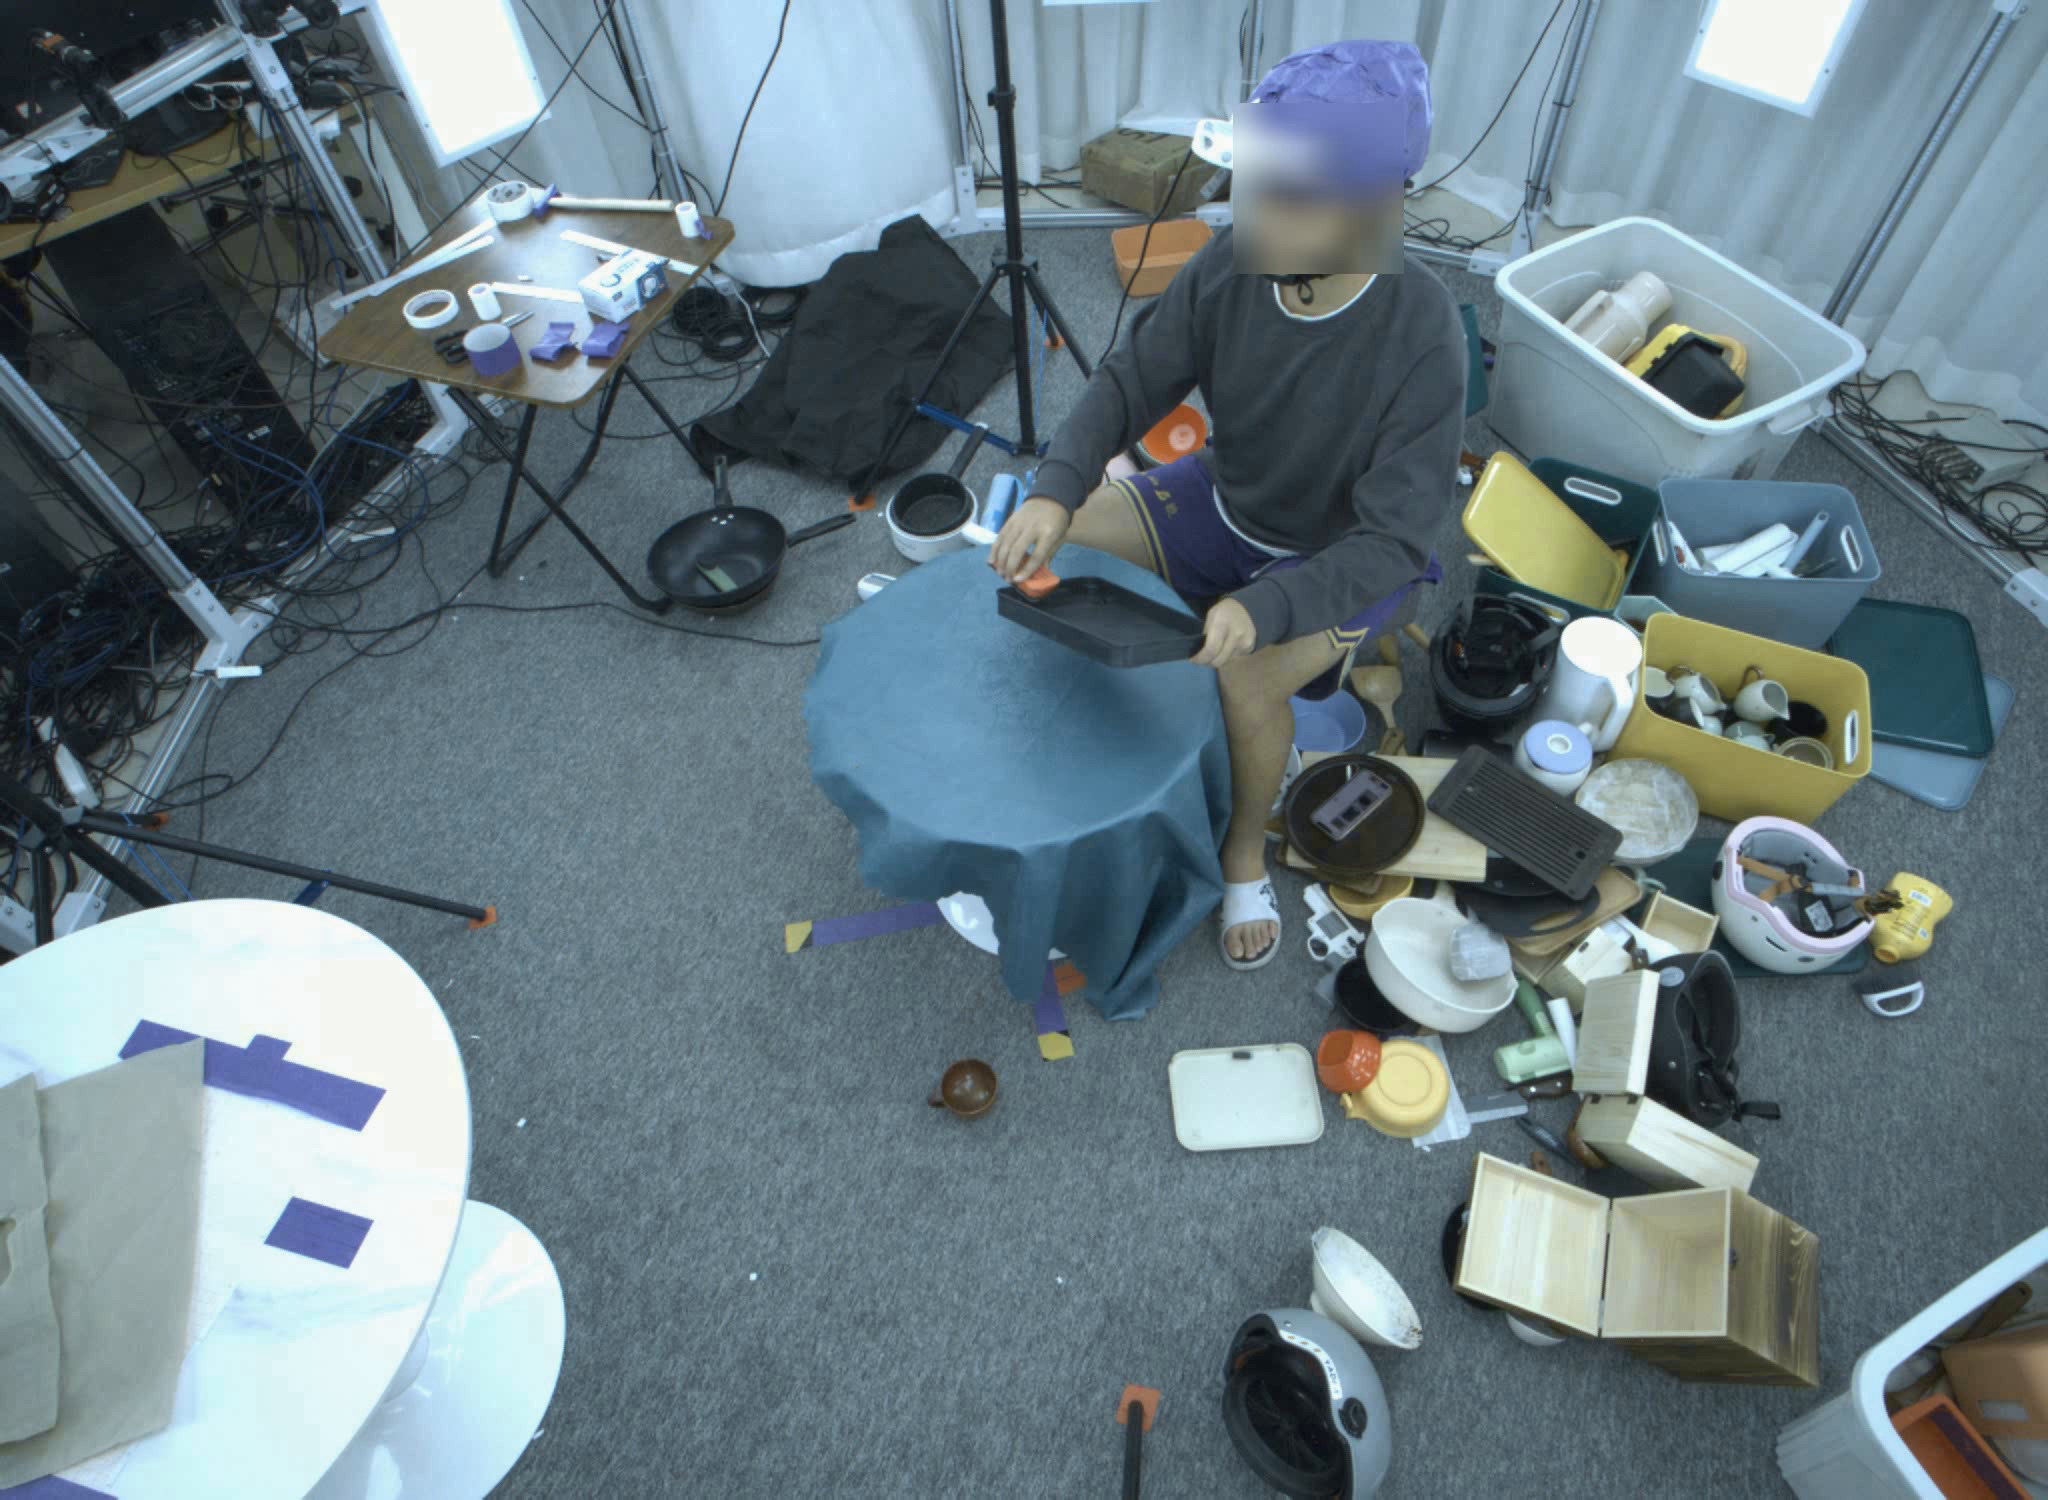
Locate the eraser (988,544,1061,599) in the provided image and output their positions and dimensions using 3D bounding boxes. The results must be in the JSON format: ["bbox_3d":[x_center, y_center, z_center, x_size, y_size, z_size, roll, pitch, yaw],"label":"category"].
[{"bbox_3d":[-0.001,-0.265,1.811,0.106,0.023,0.060,42,39,24],"label":"eraser"}]

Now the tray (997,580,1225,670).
[{"bbox_3d":[0.114,-0.179,1.715,0.187,0.037,0.310,-11,25,-33],"label":"tray"}]
